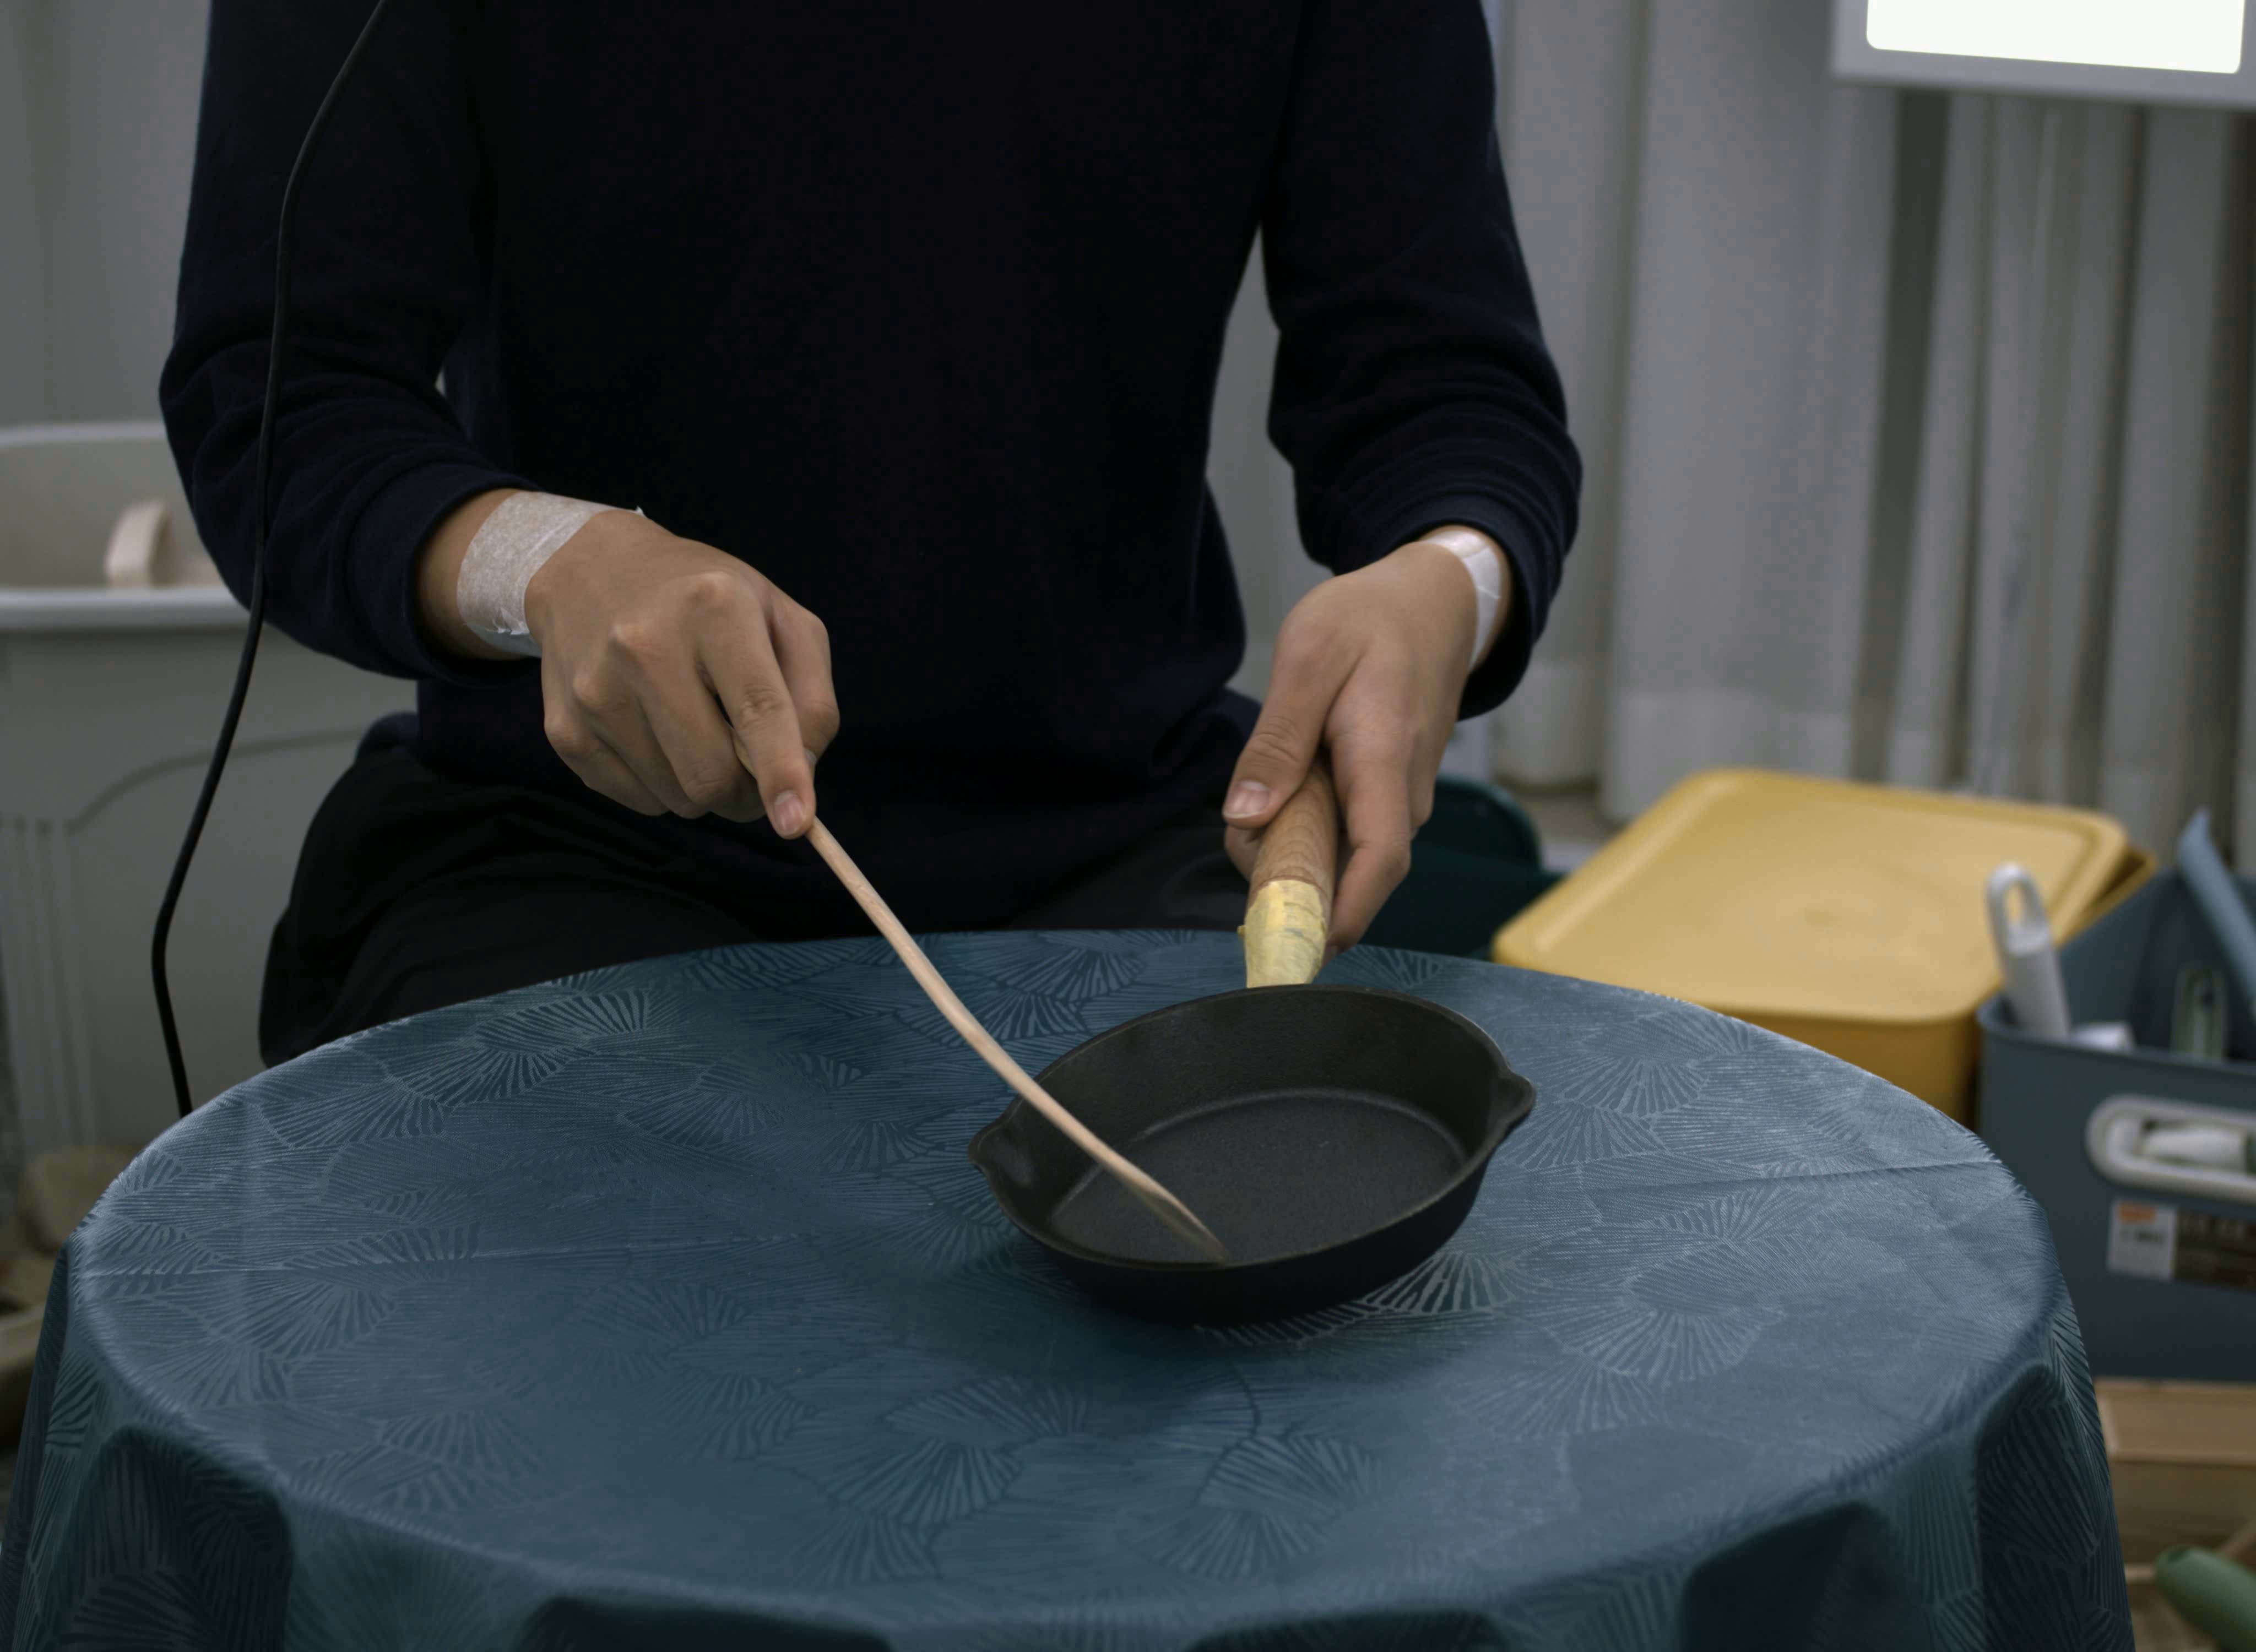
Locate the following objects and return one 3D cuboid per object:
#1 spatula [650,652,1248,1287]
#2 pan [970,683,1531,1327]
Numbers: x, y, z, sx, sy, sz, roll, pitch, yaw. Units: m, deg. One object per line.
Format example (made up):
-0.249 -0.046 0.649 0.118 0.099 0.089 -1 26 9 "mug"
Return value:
-0.062 0.035 1.570 0.323 0.016 0.081 47 0 41 "spatula"
0.048 0.051 1.620 0.168 0.050 0.322 -5 29 12 "pan"
